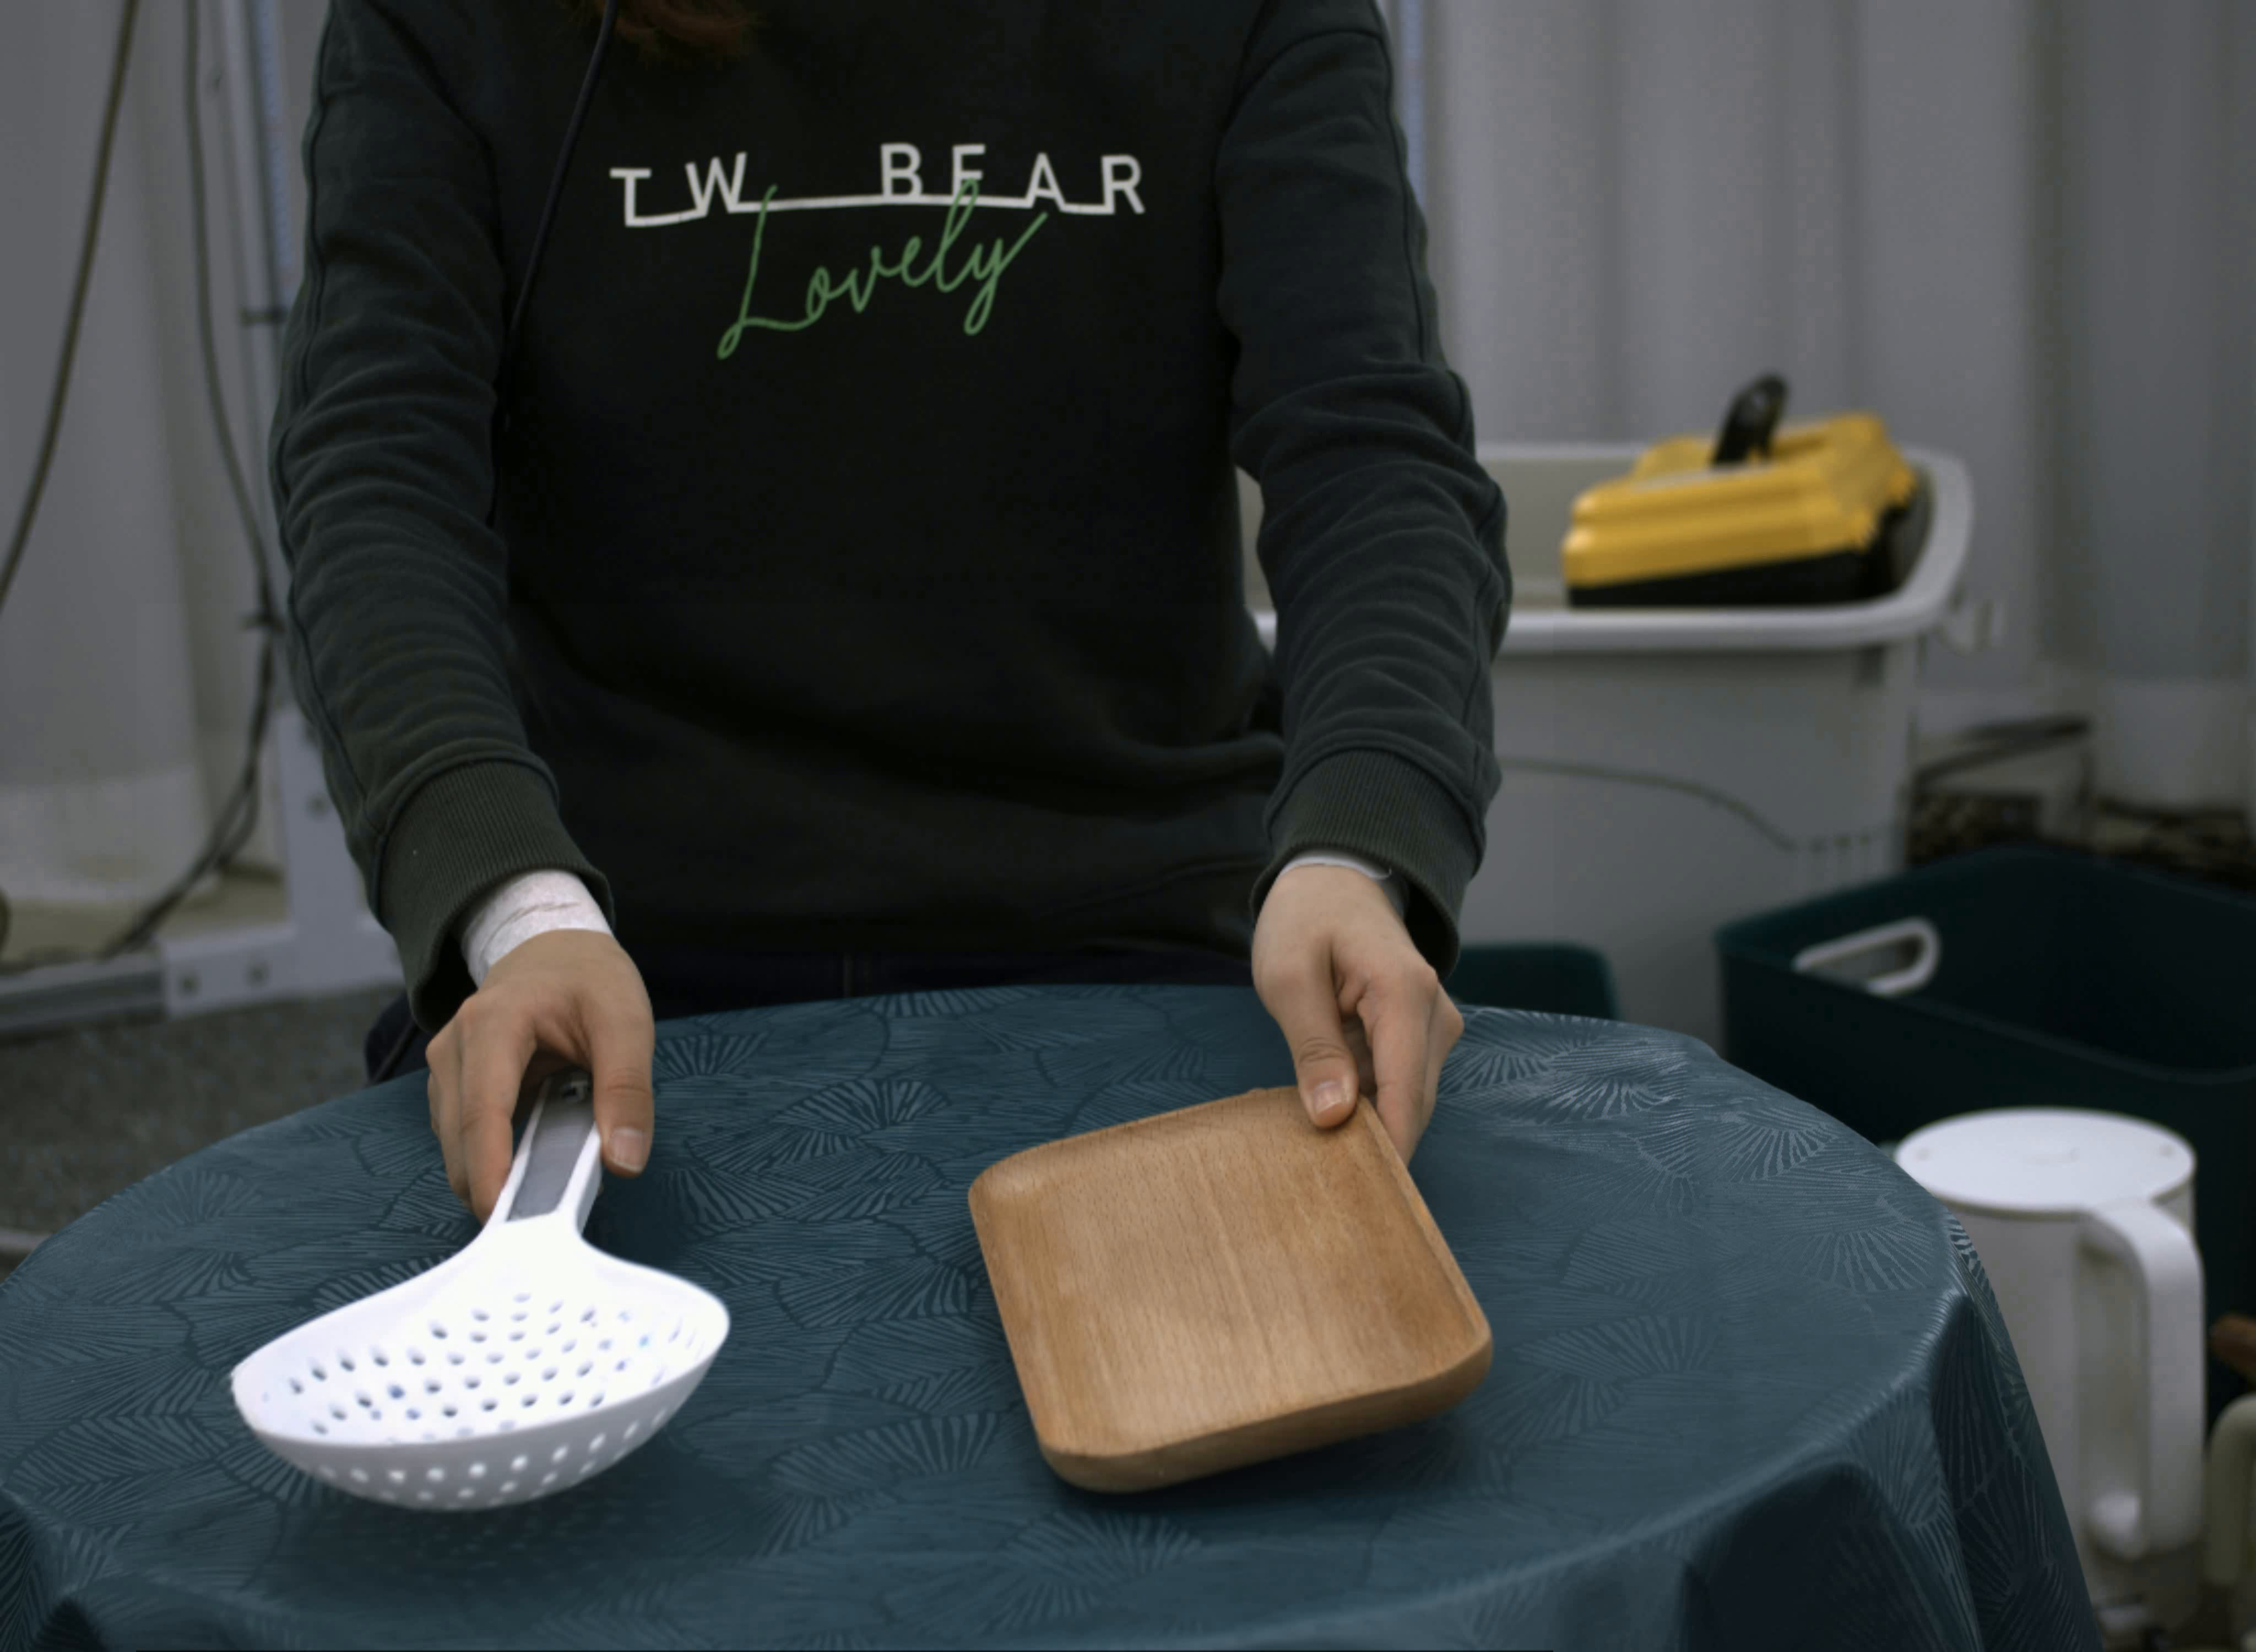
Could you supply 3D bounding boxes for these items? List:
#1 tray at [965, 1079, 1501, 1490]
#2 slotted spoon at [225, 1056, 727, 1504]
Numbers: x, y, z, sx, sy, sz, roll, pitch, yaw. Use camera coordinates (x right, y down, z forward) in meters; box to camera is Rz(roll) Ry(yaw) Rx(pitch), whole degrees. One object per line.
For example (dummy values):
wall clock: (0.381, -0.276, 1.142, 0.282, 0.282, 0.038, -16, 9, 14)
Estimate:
tray: (0.026, 0.129, 1.570, 0.130, 0.023, 0.252, -11, 16, -4)
slotted spoon: (-0.173, 0.122, 1.577, 0.135, 0.045, 0.352, -5, 18, 2)
